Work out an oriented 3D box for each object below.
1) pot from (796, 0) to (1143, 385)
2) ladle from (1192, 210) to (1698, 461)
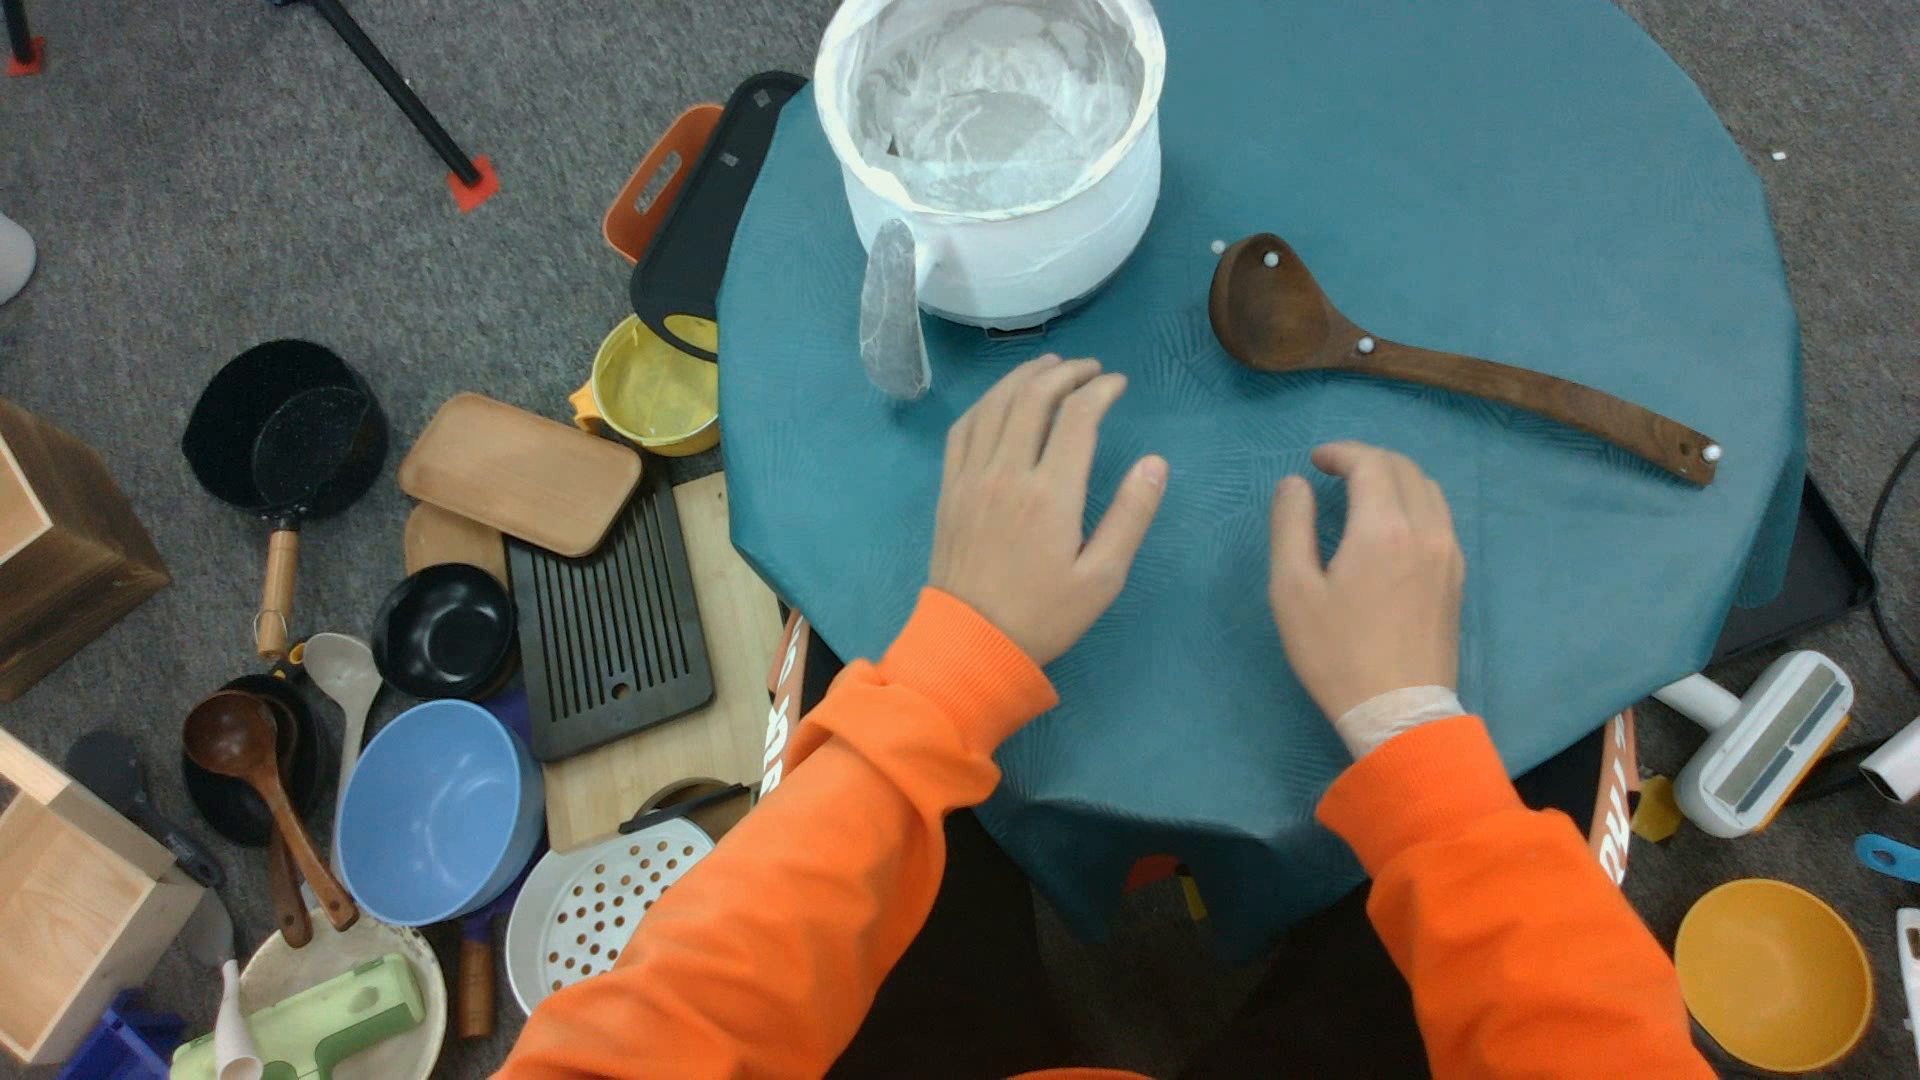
[{"bbox_3d":[-0.001,-0.202,0.746,0.178,0.136,0.234,21,75,13],"label":"pot"},{"bbox_3d":[0.255,-0.104,0.721,0.274,0.071,0.076,19,77,13],"label":"ladle"}]
